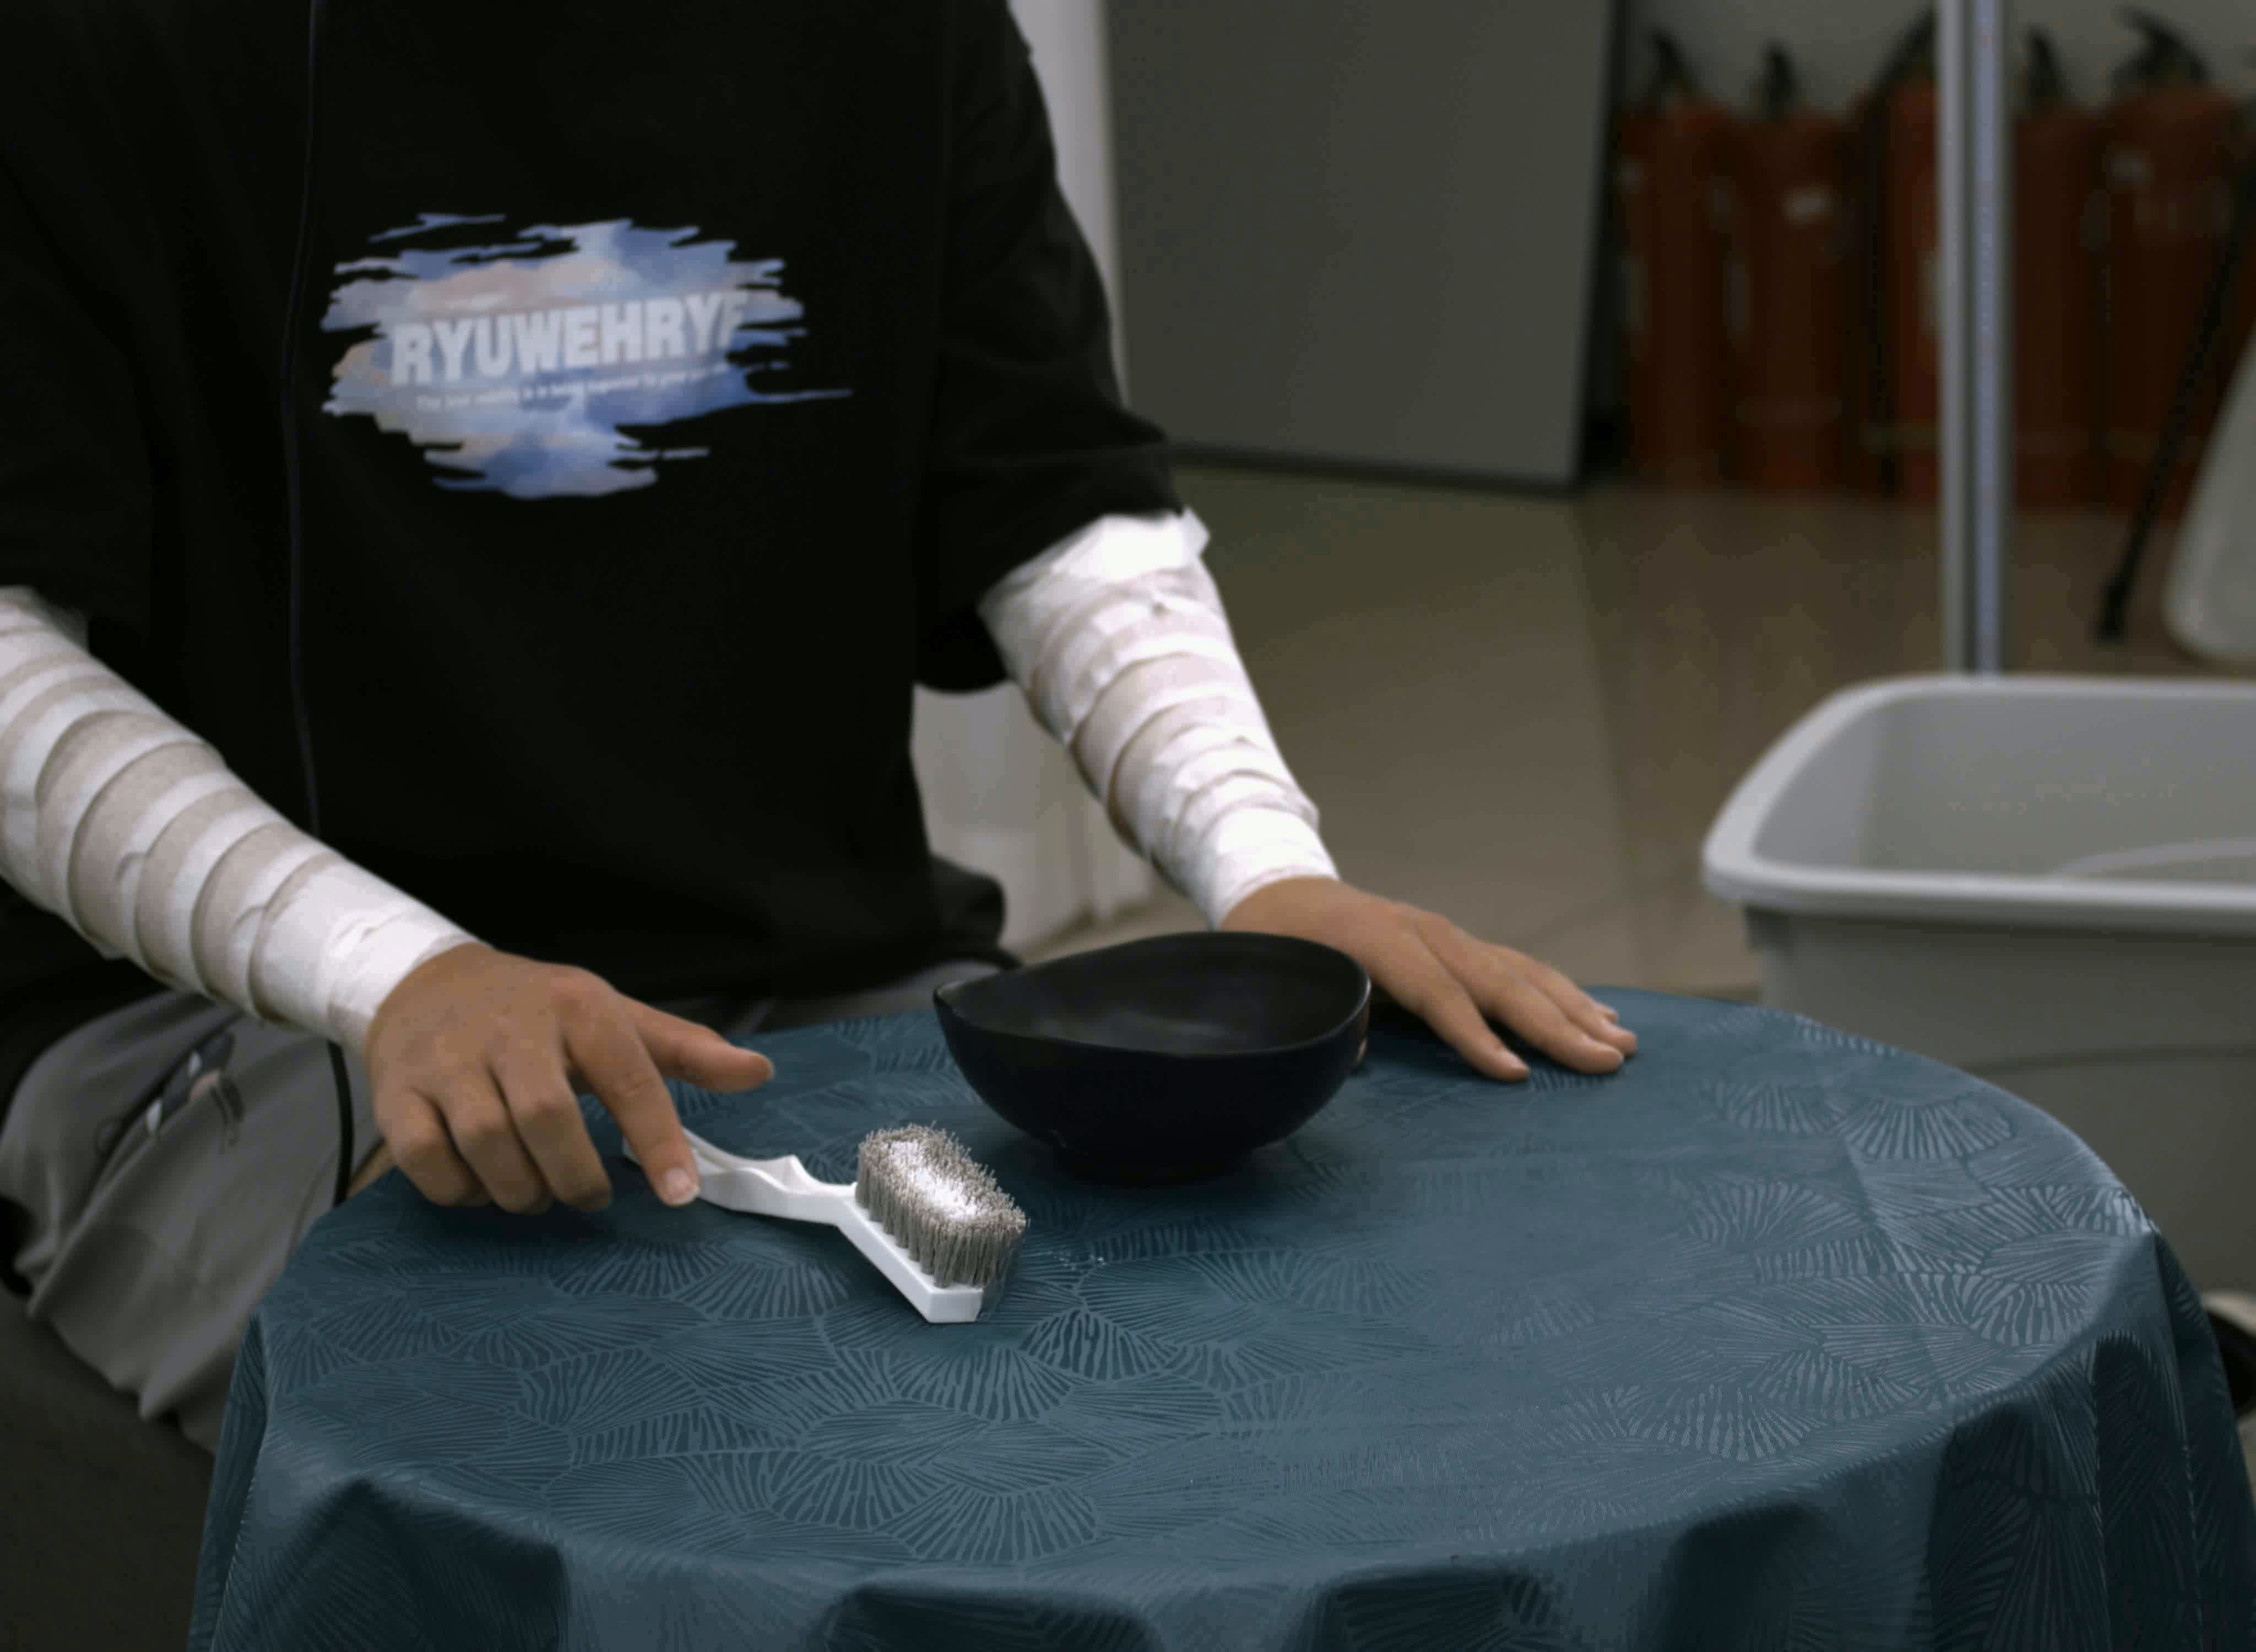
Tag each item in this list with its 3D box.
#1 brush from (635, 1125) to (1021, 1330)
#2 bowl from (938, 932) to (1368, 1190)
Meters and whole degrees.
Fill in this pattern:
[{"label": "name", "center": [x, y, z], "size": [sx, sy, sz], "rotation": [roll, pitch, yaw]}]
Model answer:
[{"label": "brush", "center": [-0.103, 0.109, 1.746], "size": [0.033, 0.051, 0.246], "rotation": [-10, 15, -27]}, {"label": "bowl", "center": [0.009, 0.082, 1.798], "size": [0.134, 0.067, 0.172], "rotation": [-13, 14, -32]}]
